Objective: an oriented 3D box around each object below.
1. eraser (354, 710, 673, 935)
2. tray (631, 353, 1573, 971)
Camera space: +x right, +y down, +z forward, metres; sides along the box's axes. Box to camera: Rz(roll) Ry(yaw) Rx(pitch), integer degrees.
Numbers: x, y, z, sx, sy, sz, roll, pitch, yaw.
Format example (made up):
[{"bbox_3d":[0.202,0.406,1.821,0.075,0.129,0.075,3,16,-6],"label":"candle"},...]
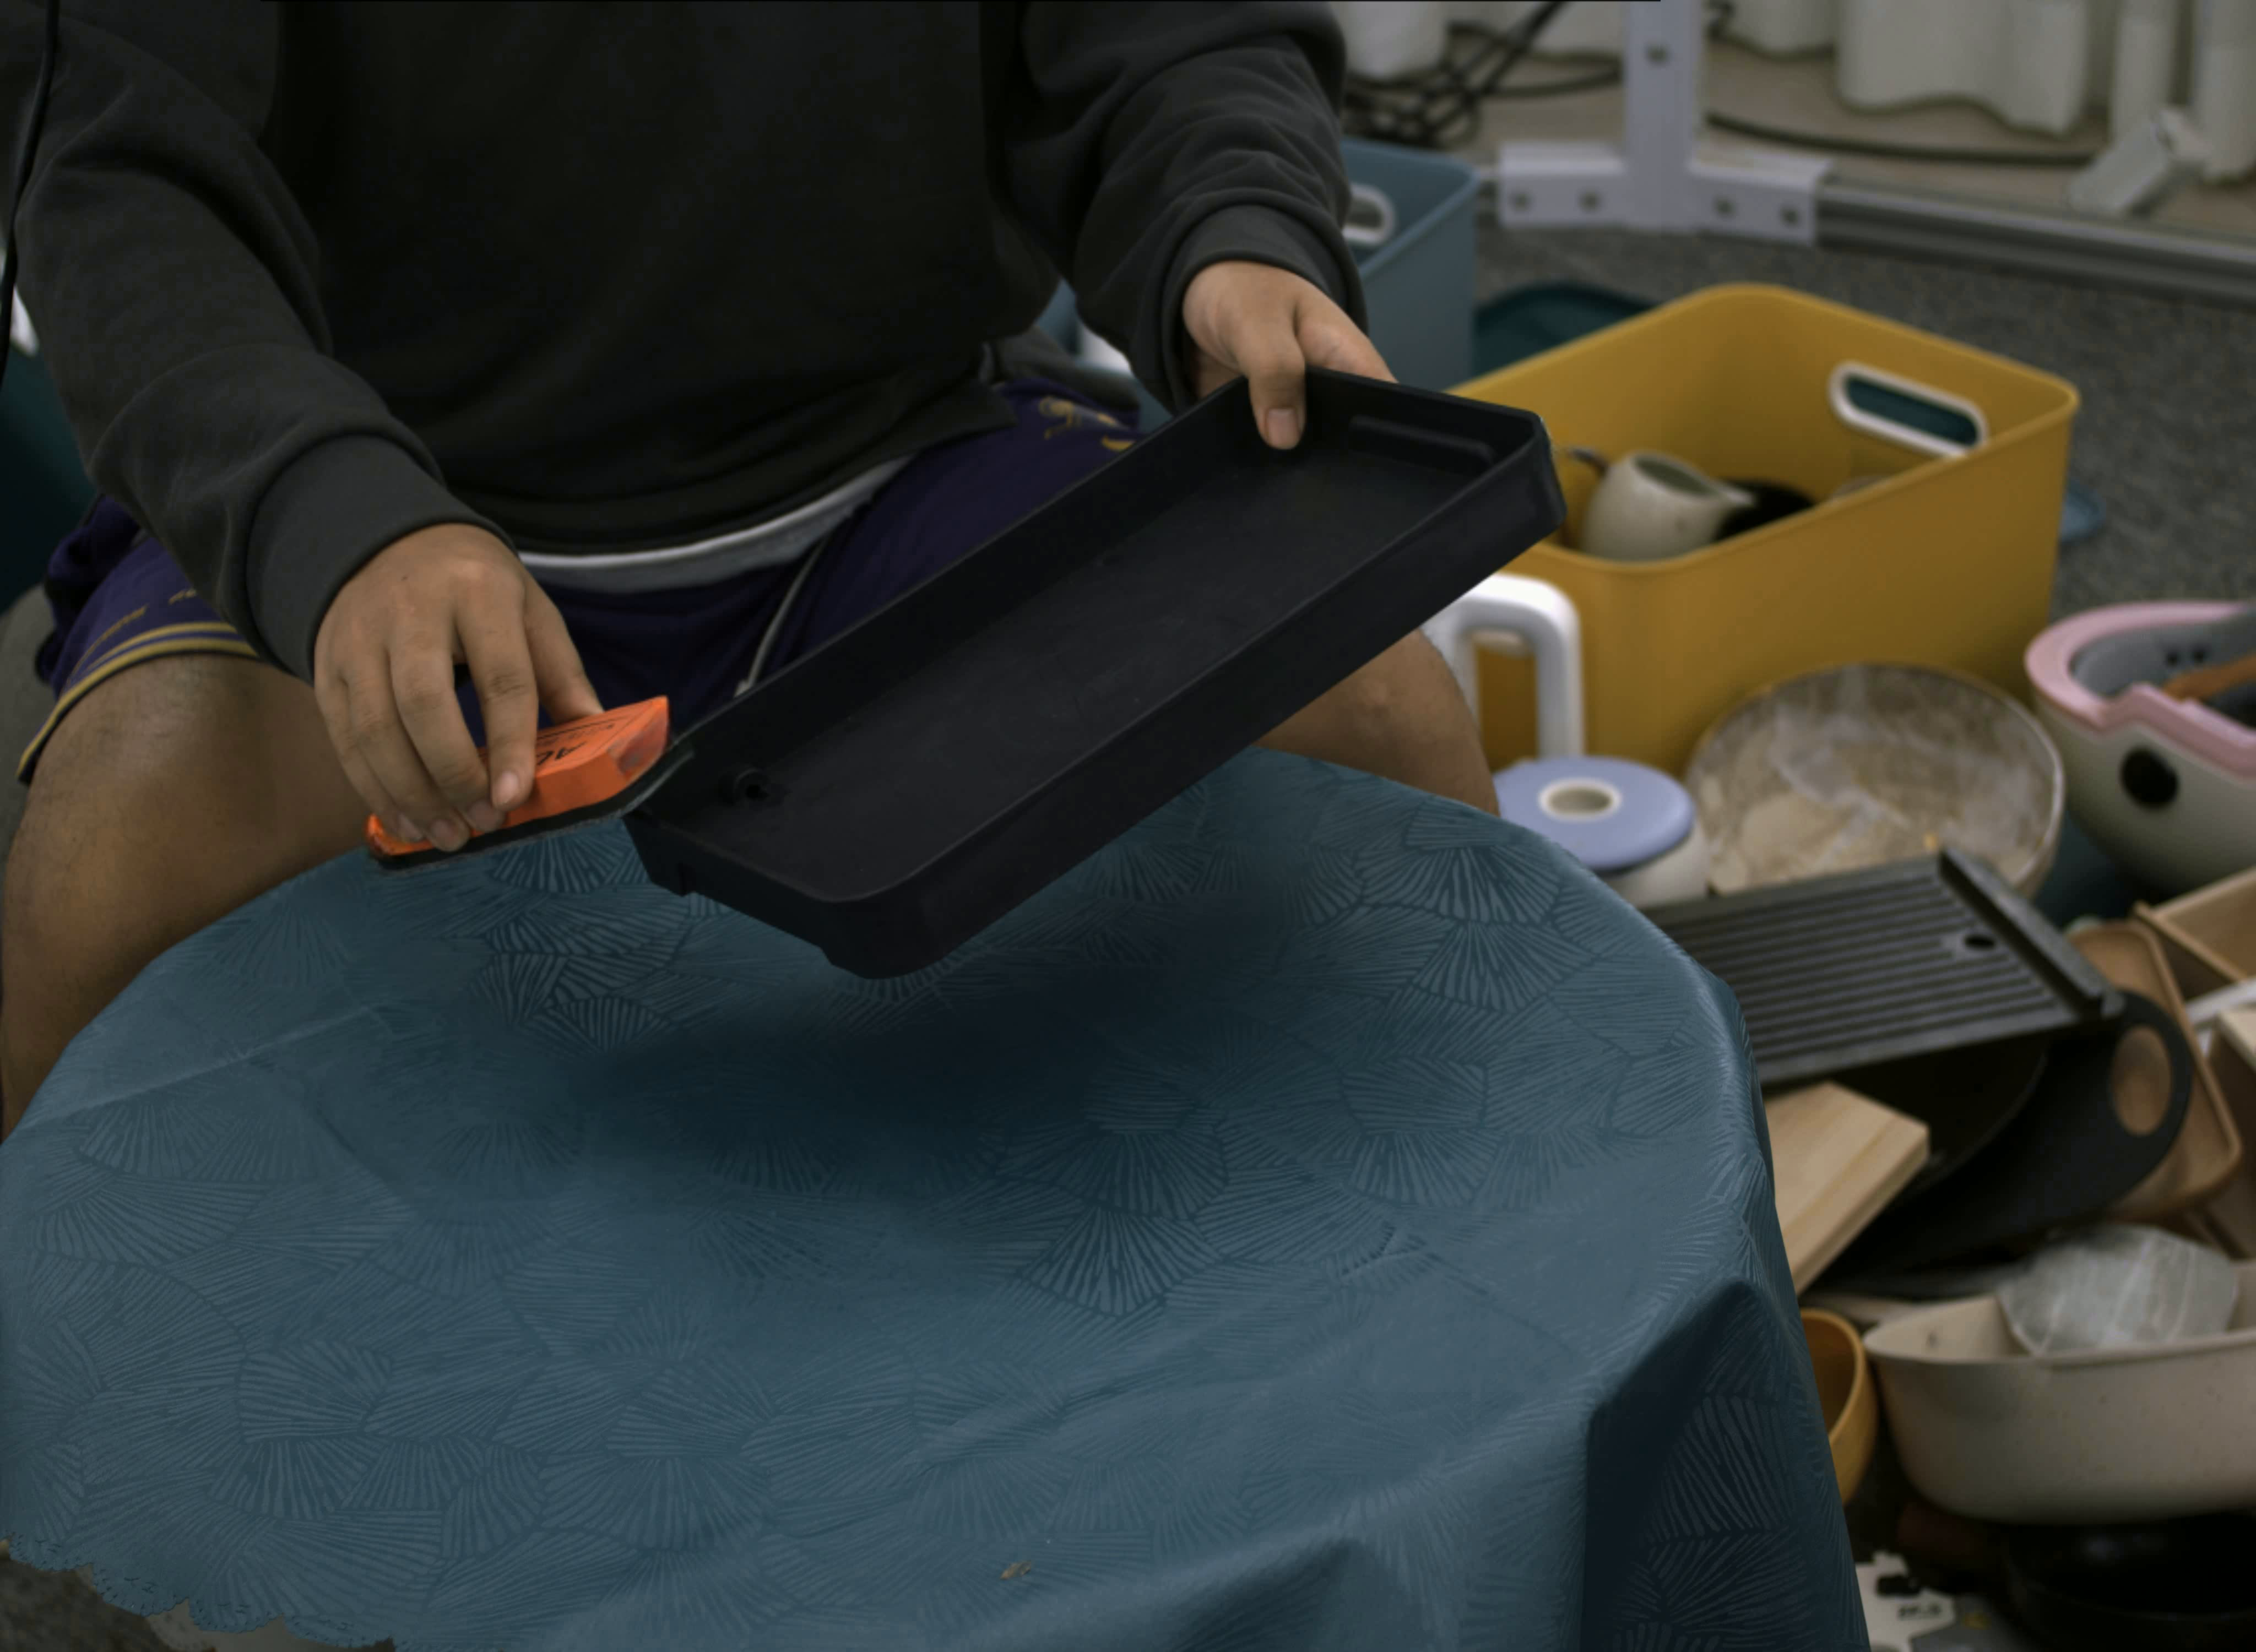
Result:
[{"bbox_3d":[-0.208,-0.001,1.909,0.107,0.023,0.060,-24,17,14],"label":"eraser"},{"bbox_3d":[-0.009,-0.062,1.940,0.321,0.037,0.183,-36,28,-25],"label":"tray"}]
